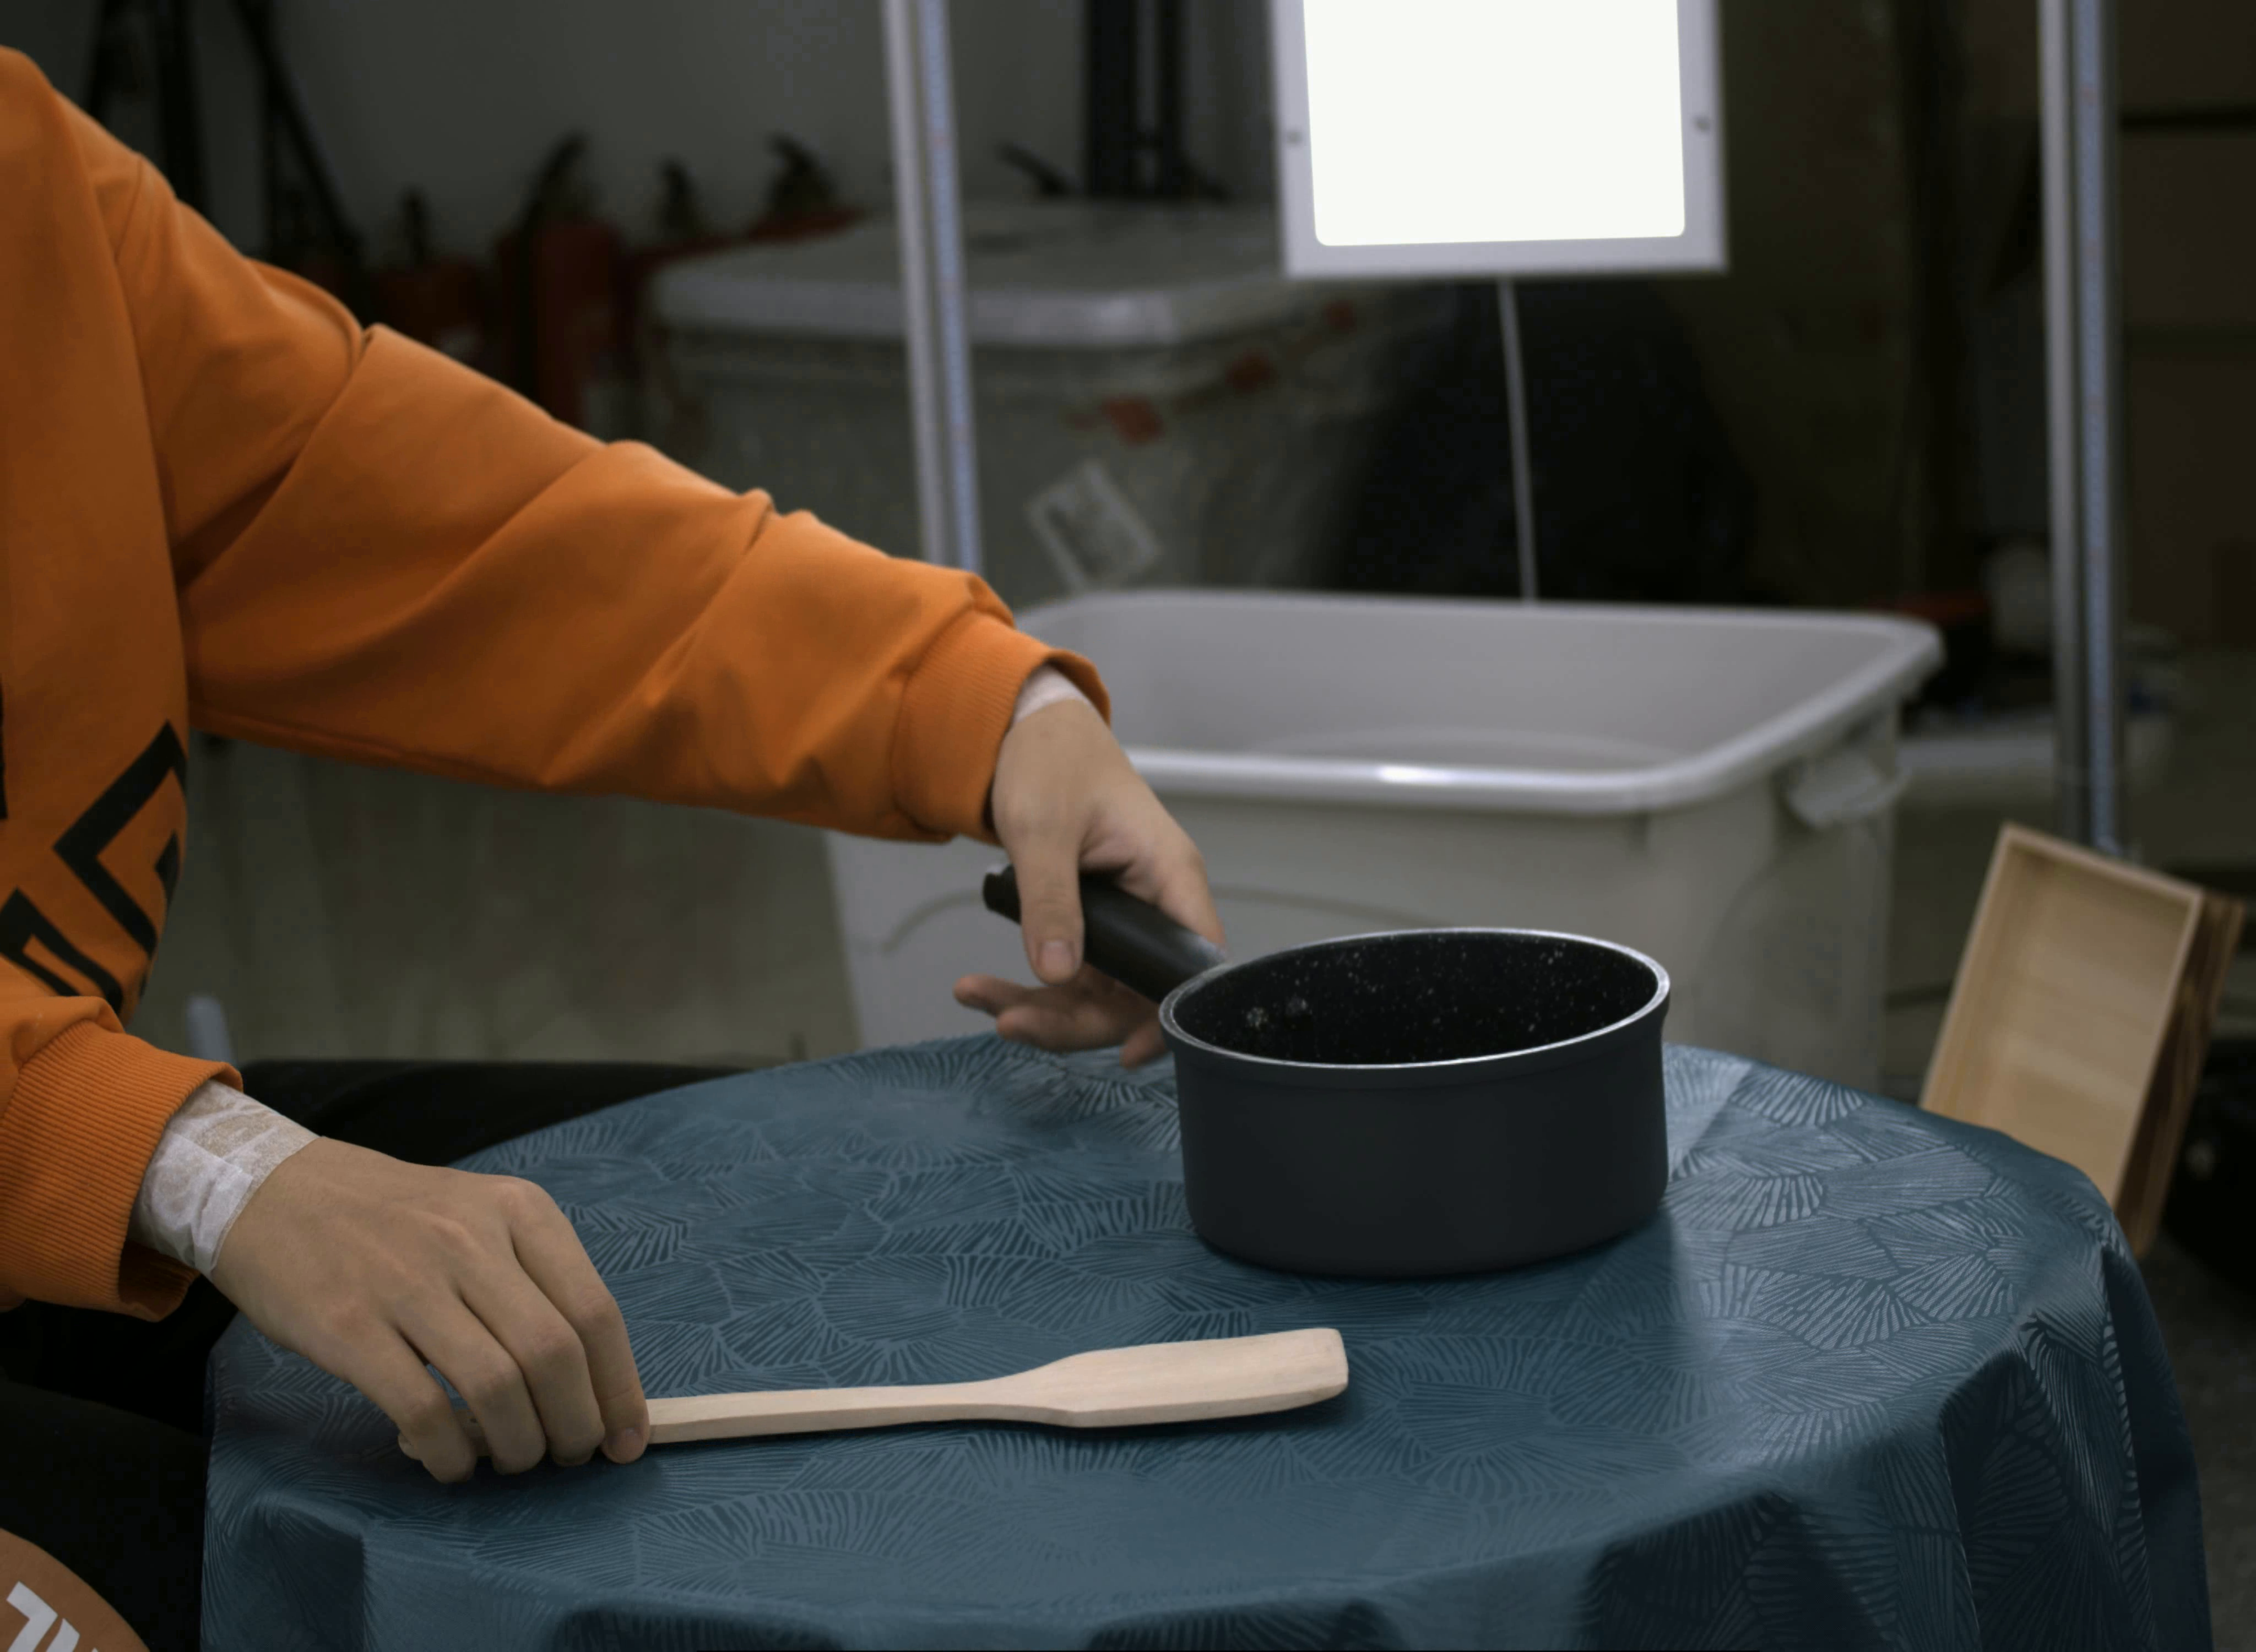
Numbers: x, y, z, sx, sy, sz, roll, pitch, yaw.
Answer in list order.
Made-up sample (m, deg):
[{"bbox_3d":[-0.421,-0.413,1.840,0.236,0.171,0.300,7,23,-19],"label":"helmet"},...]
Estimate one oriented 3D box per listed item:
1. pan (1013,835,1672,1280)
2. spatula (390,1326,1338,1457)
[{"bbox_3d":[0.056,0.075,1.908,0.168,0.087,0.335,-12,17,-29],"label":"pan"},{"bbox_3d":[-0.081,0.178,1.692,0.293,0.011,0.072,-4,13,3],"label":"spatula"}]
